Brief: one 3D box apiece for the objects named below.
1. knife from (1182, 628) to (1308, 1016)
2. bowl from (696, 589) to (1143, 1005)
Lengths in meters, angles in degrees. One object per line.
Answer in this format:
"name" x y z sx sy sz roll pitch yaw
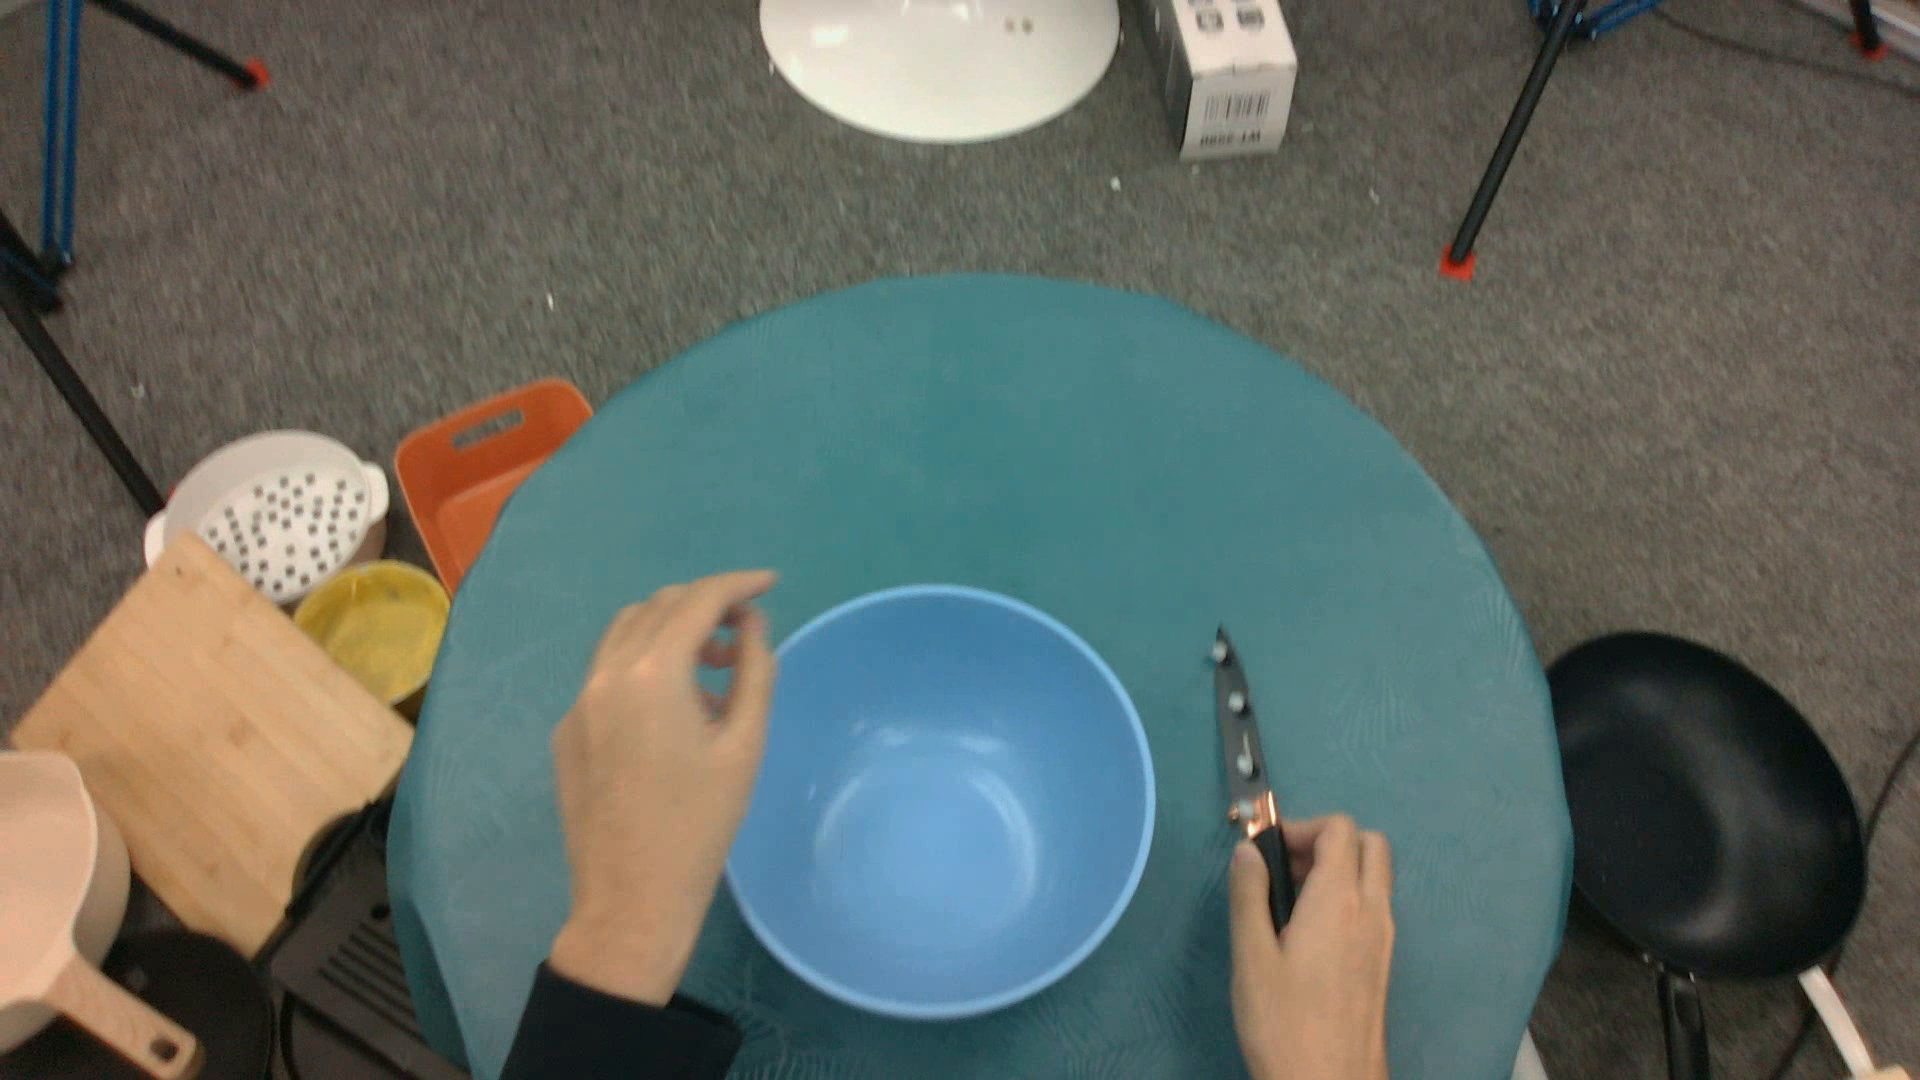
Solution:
"knife" 0.139 0.129 0.689 0.026 0.017 0.226 -29 42 23
"bowl" -0.018 0.129 0.642 0.196 0.095 0.197 1 53 -1
